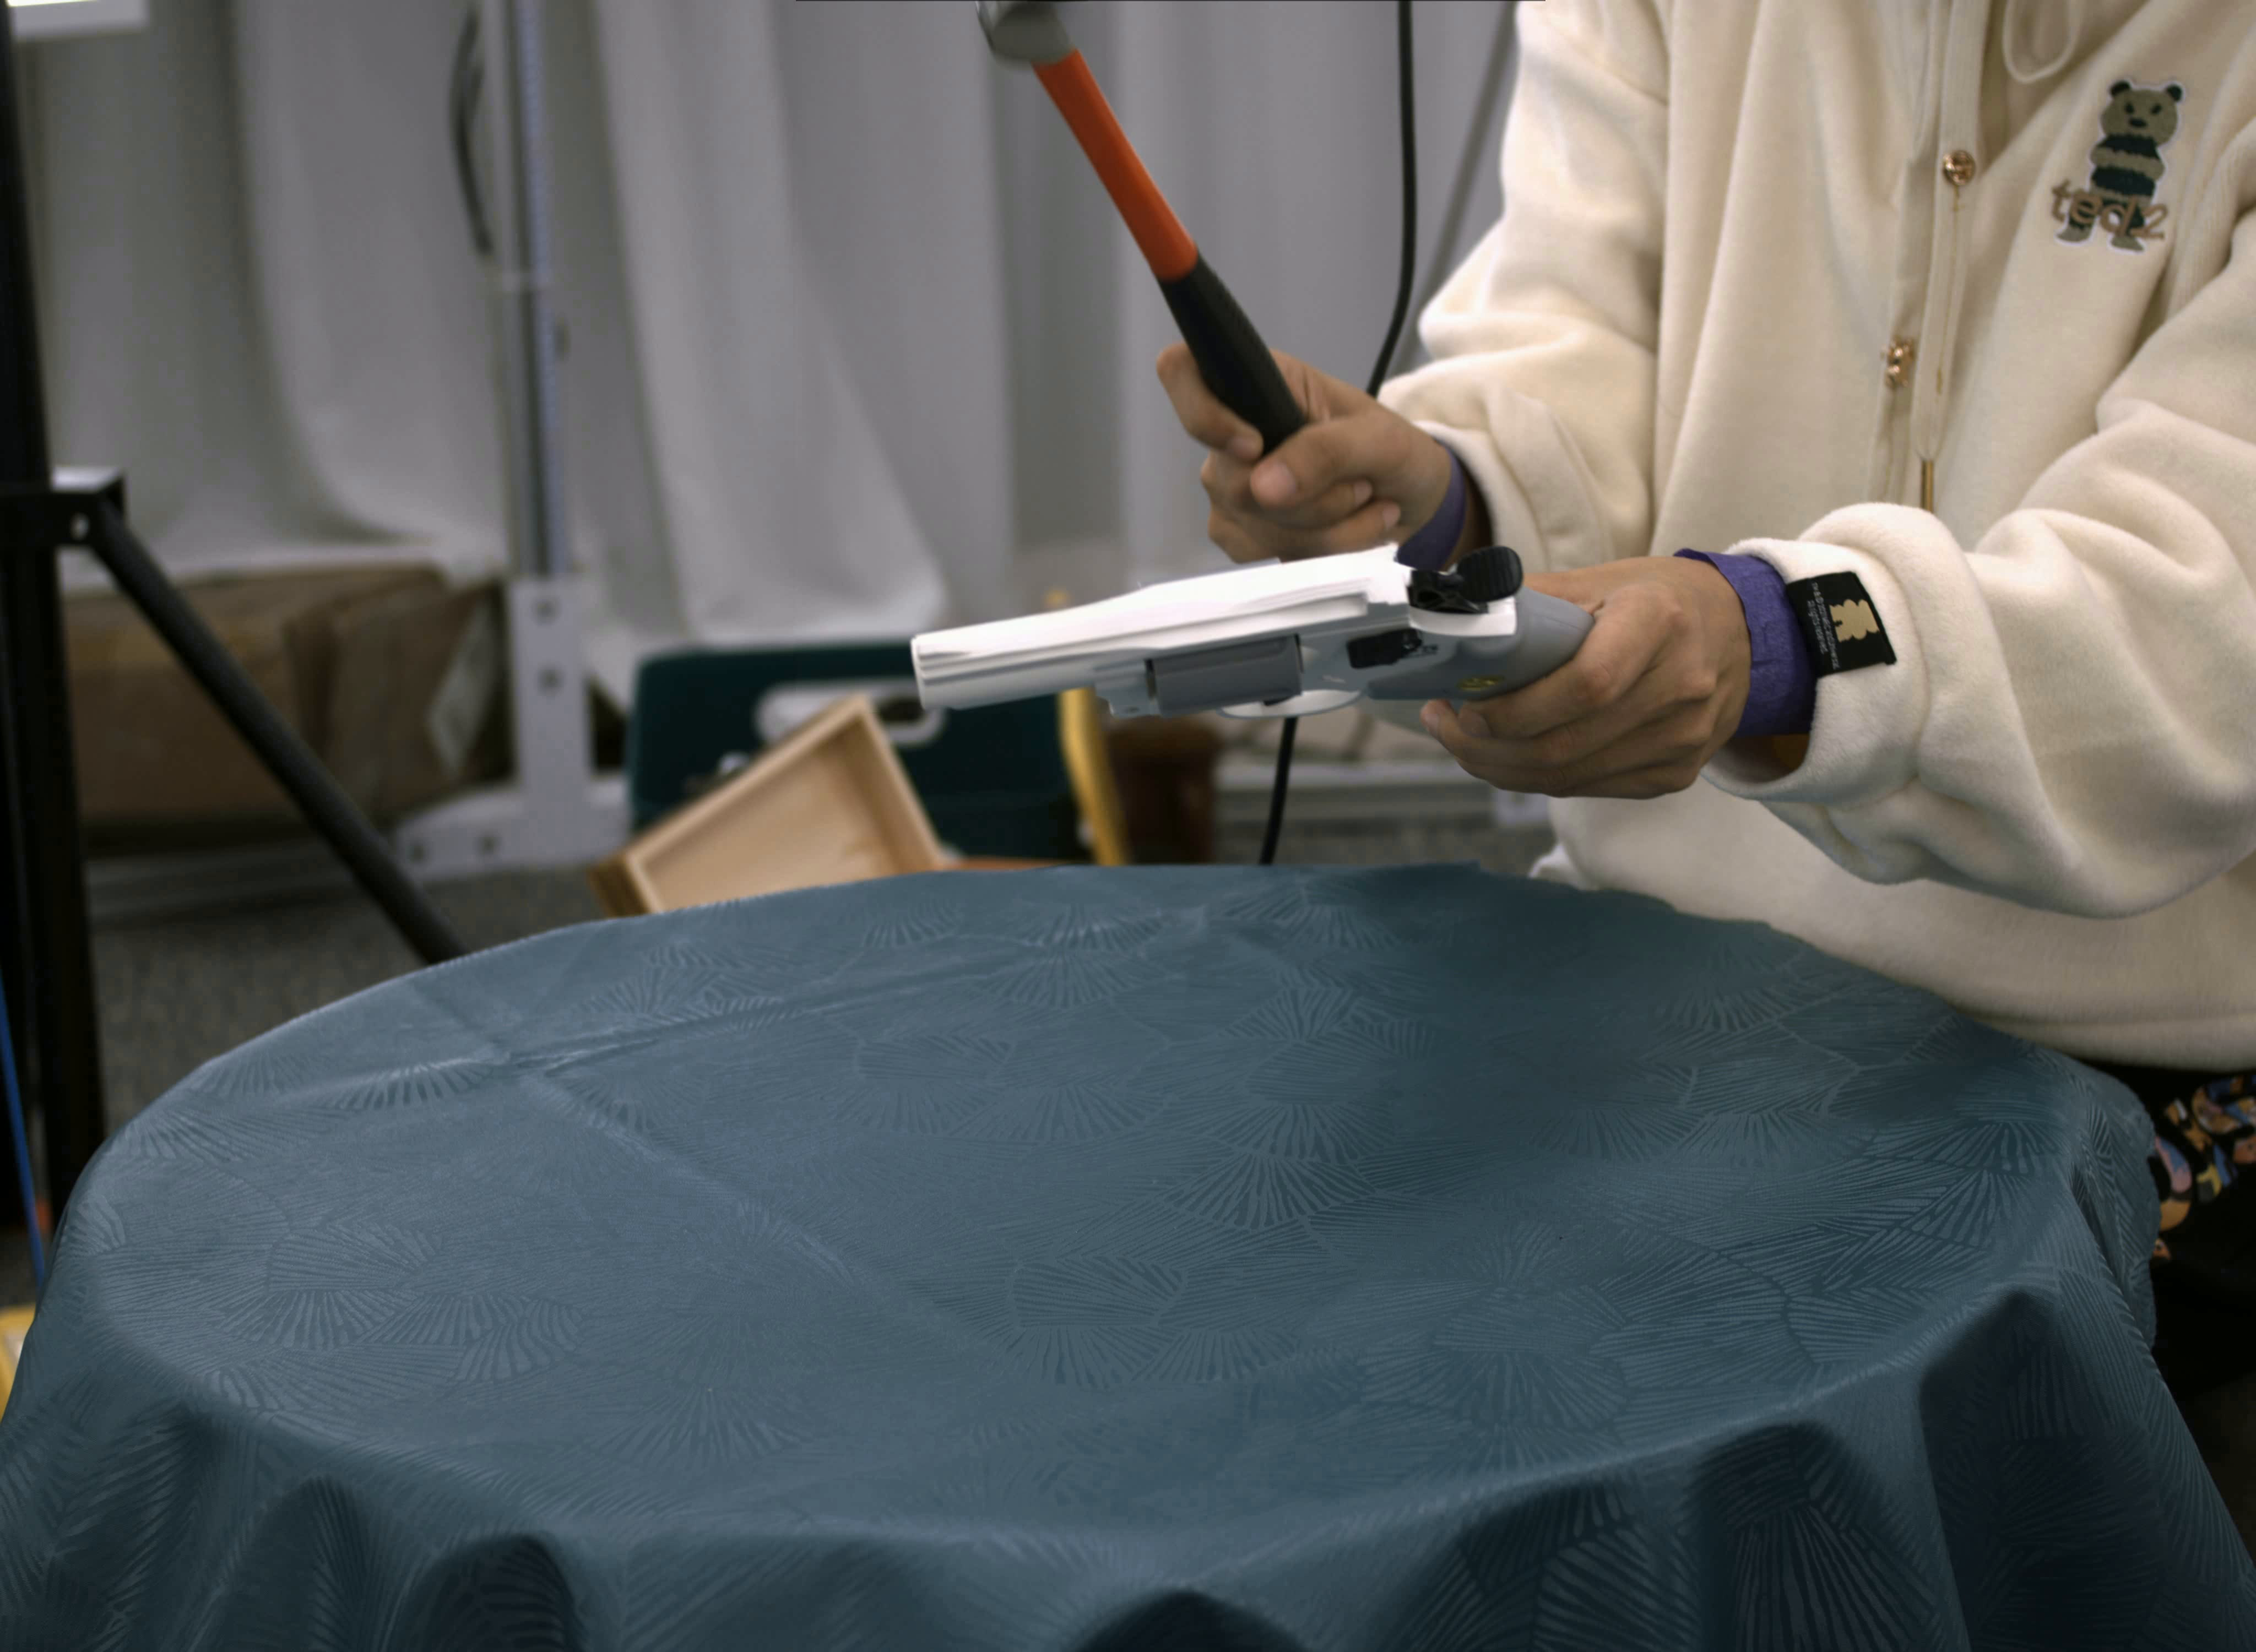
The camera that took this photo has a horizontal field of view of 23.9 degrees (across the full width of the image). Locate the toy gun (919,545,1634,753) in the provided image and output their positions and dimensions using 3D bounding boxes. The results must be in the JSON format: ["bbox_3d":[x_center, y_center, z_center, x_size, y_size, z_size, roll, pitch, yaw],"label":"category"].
[{"bbox_3d":[0.046,-0.045,1.494,0.208,0.039,0.141,-8,-15,-1],"label":"toy gun"}]

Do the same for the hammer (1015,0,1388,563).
[{"bbox_3d":[0.014,-0.184,1.630,0.026,0.272,0.113,-33,36,-2],"label":"hammer"}]
